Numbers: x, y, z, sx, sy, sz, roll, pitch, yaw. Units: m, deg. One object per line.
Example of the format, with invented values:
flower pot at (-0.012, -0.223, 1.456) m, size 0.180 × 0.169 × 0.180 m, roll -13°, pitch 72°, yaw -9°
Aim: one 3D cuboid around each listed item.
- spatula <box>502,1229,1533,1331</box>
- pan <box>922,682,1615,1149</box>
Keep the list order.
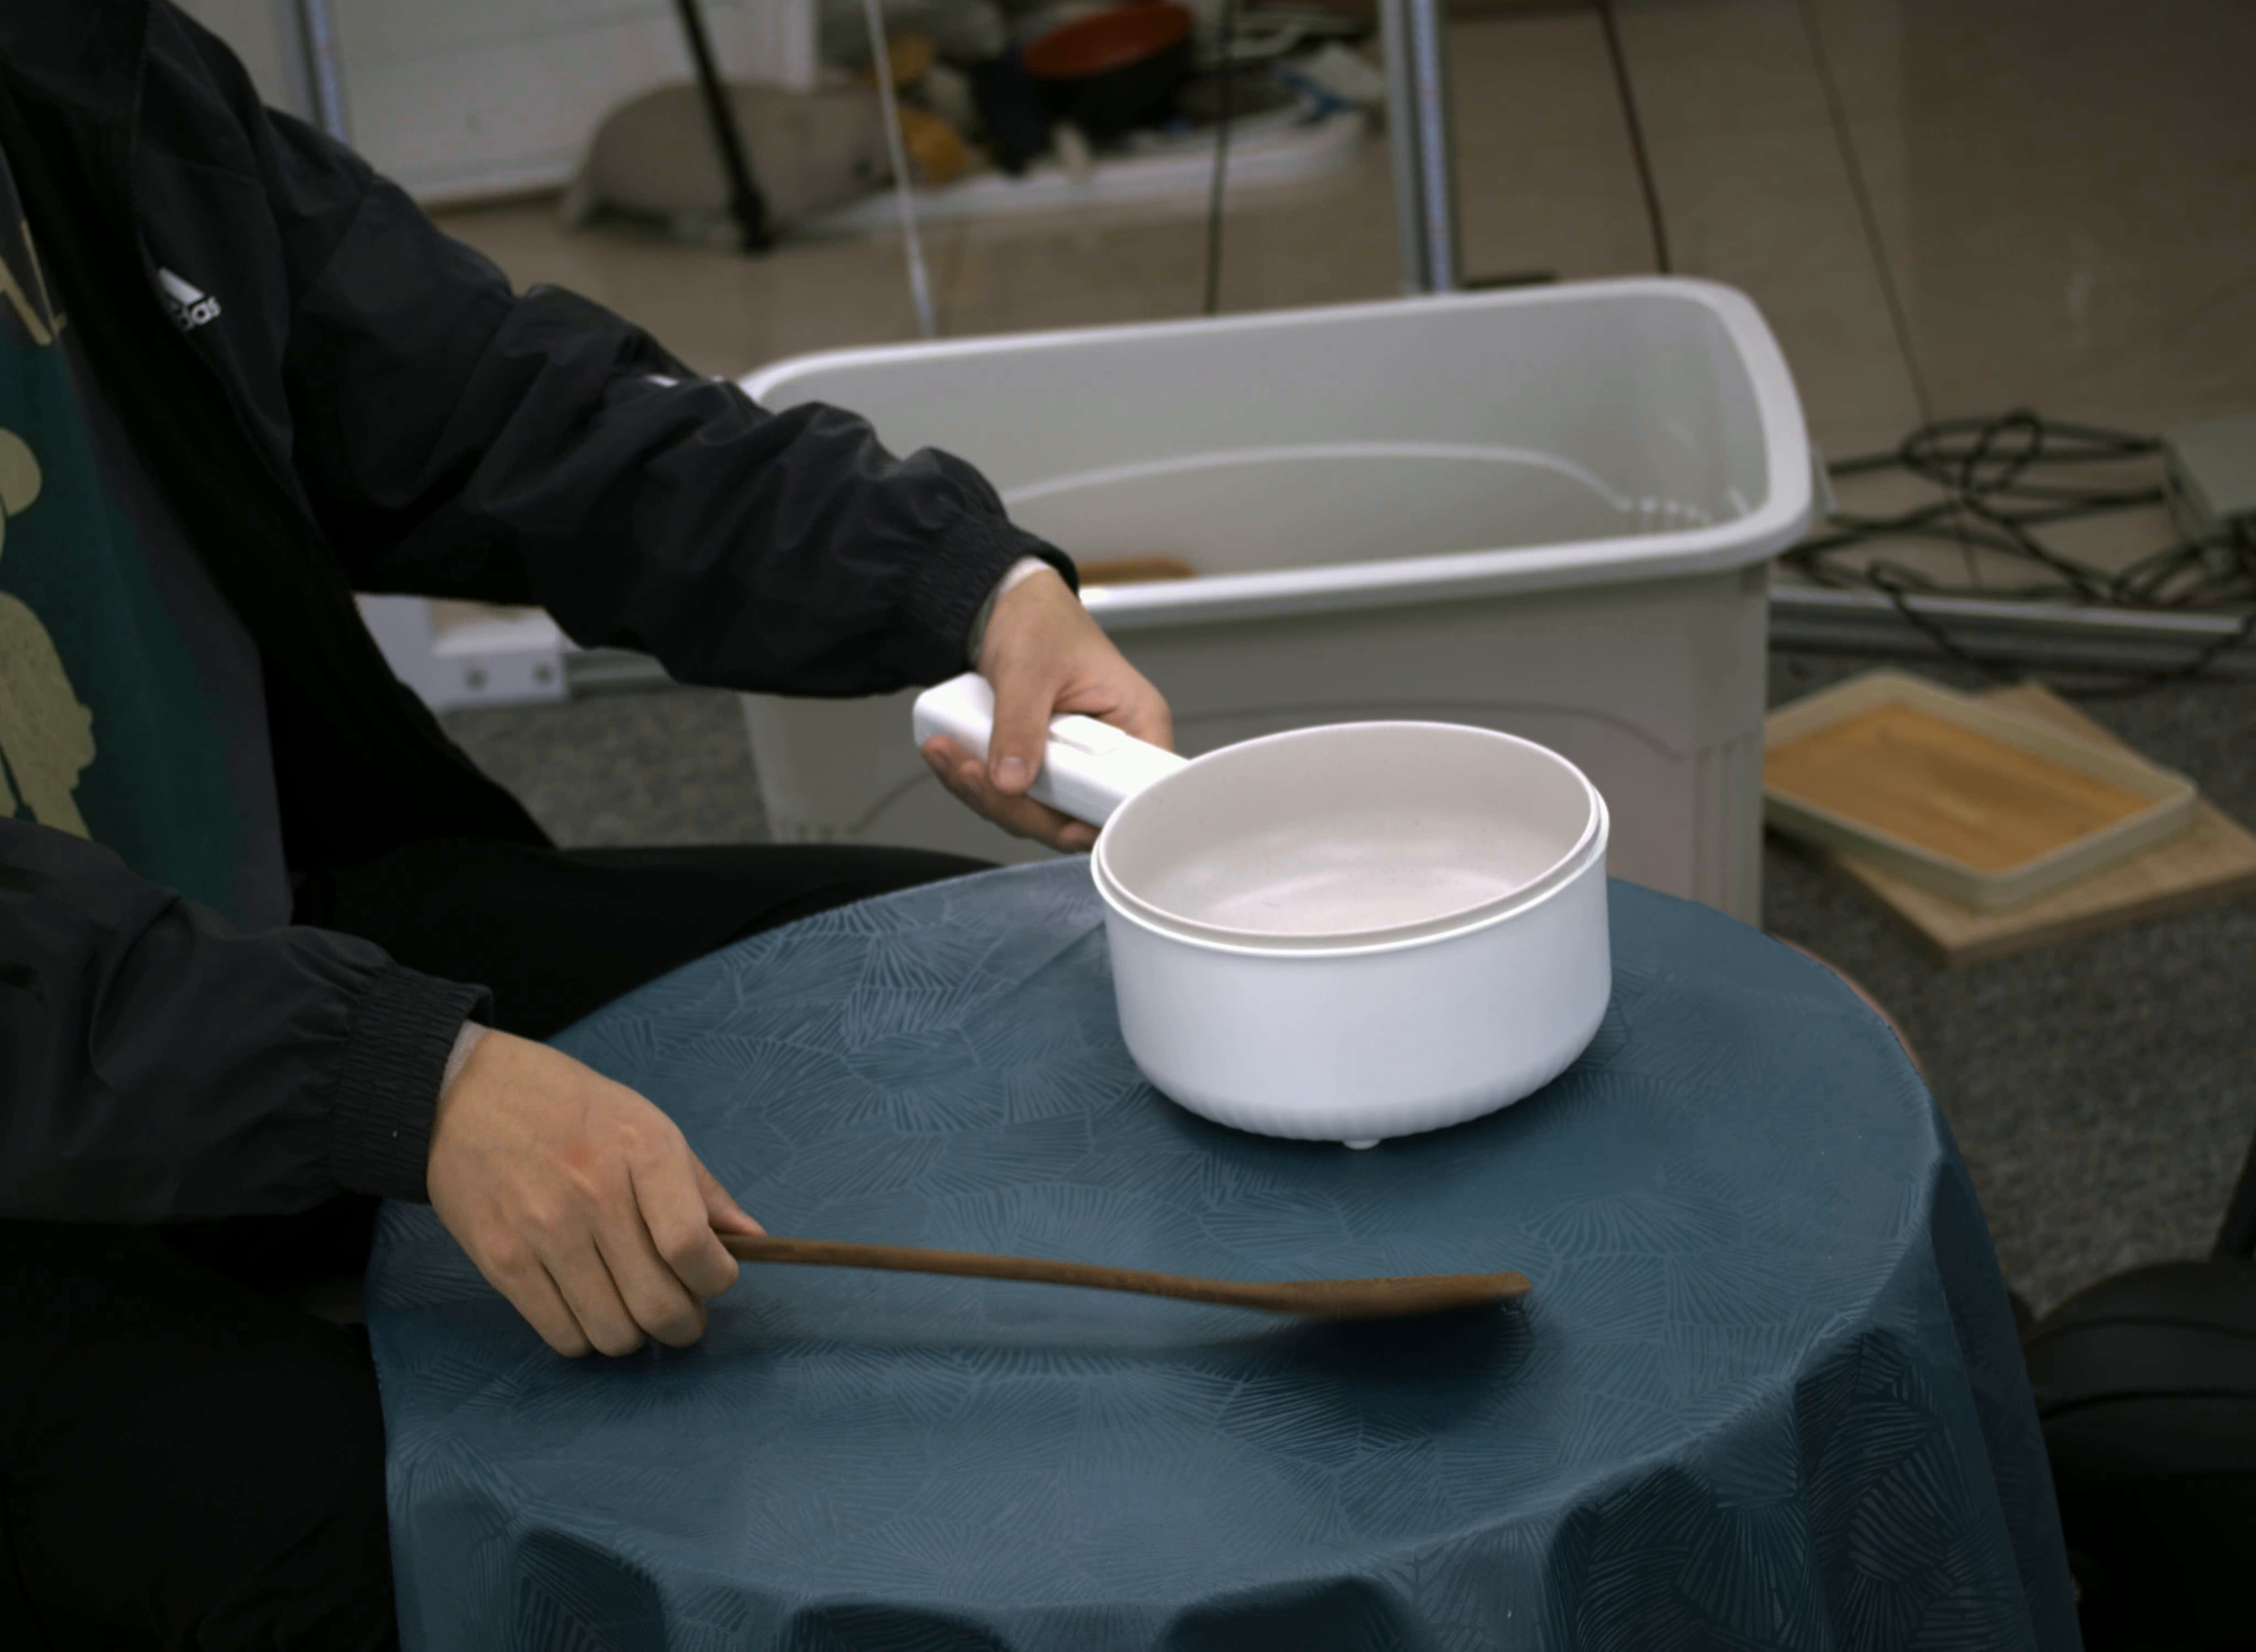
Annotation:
spatula at (-0.045, 0.162, 2.048) m, size 0.385 × 0.016 × 0.096 m, roll 3°, pitch 4°, yaw 15°
pan at (0.042, 0.027, 2.263) m, size 0.199 × 0.103 × 0.352 m, roll -25°, pitch 29°, yaw -33°
